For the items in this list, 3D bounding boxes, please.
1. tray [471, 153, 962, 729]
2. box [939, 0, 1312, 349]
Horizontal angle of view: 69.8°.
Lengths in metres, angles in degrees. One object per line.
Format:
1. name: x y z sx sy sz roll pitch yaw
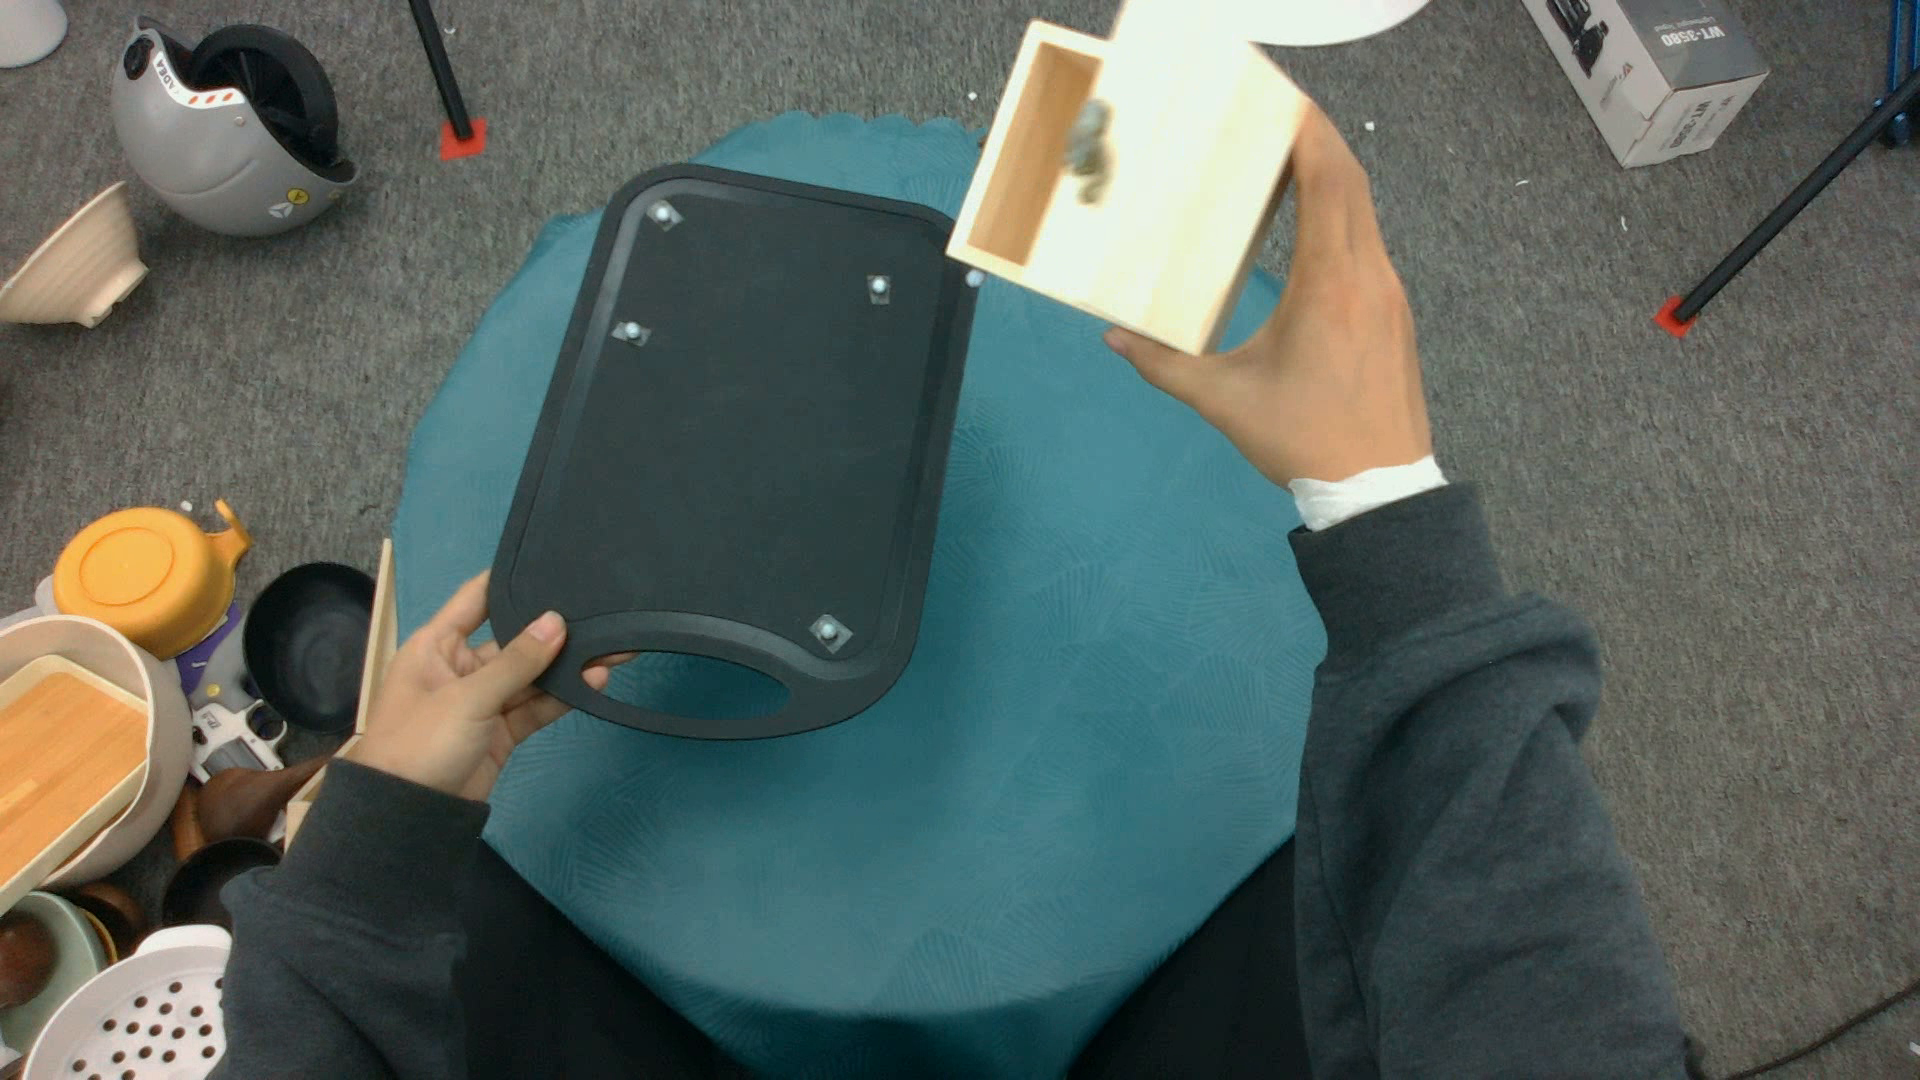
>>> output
1. tray: -0.118 -0.062 0.707 0.211 0.010 0.326 9 66 -1
2. box: 0.054 -0.151 0.536 0.134 0.185 0.102 27 98 22
